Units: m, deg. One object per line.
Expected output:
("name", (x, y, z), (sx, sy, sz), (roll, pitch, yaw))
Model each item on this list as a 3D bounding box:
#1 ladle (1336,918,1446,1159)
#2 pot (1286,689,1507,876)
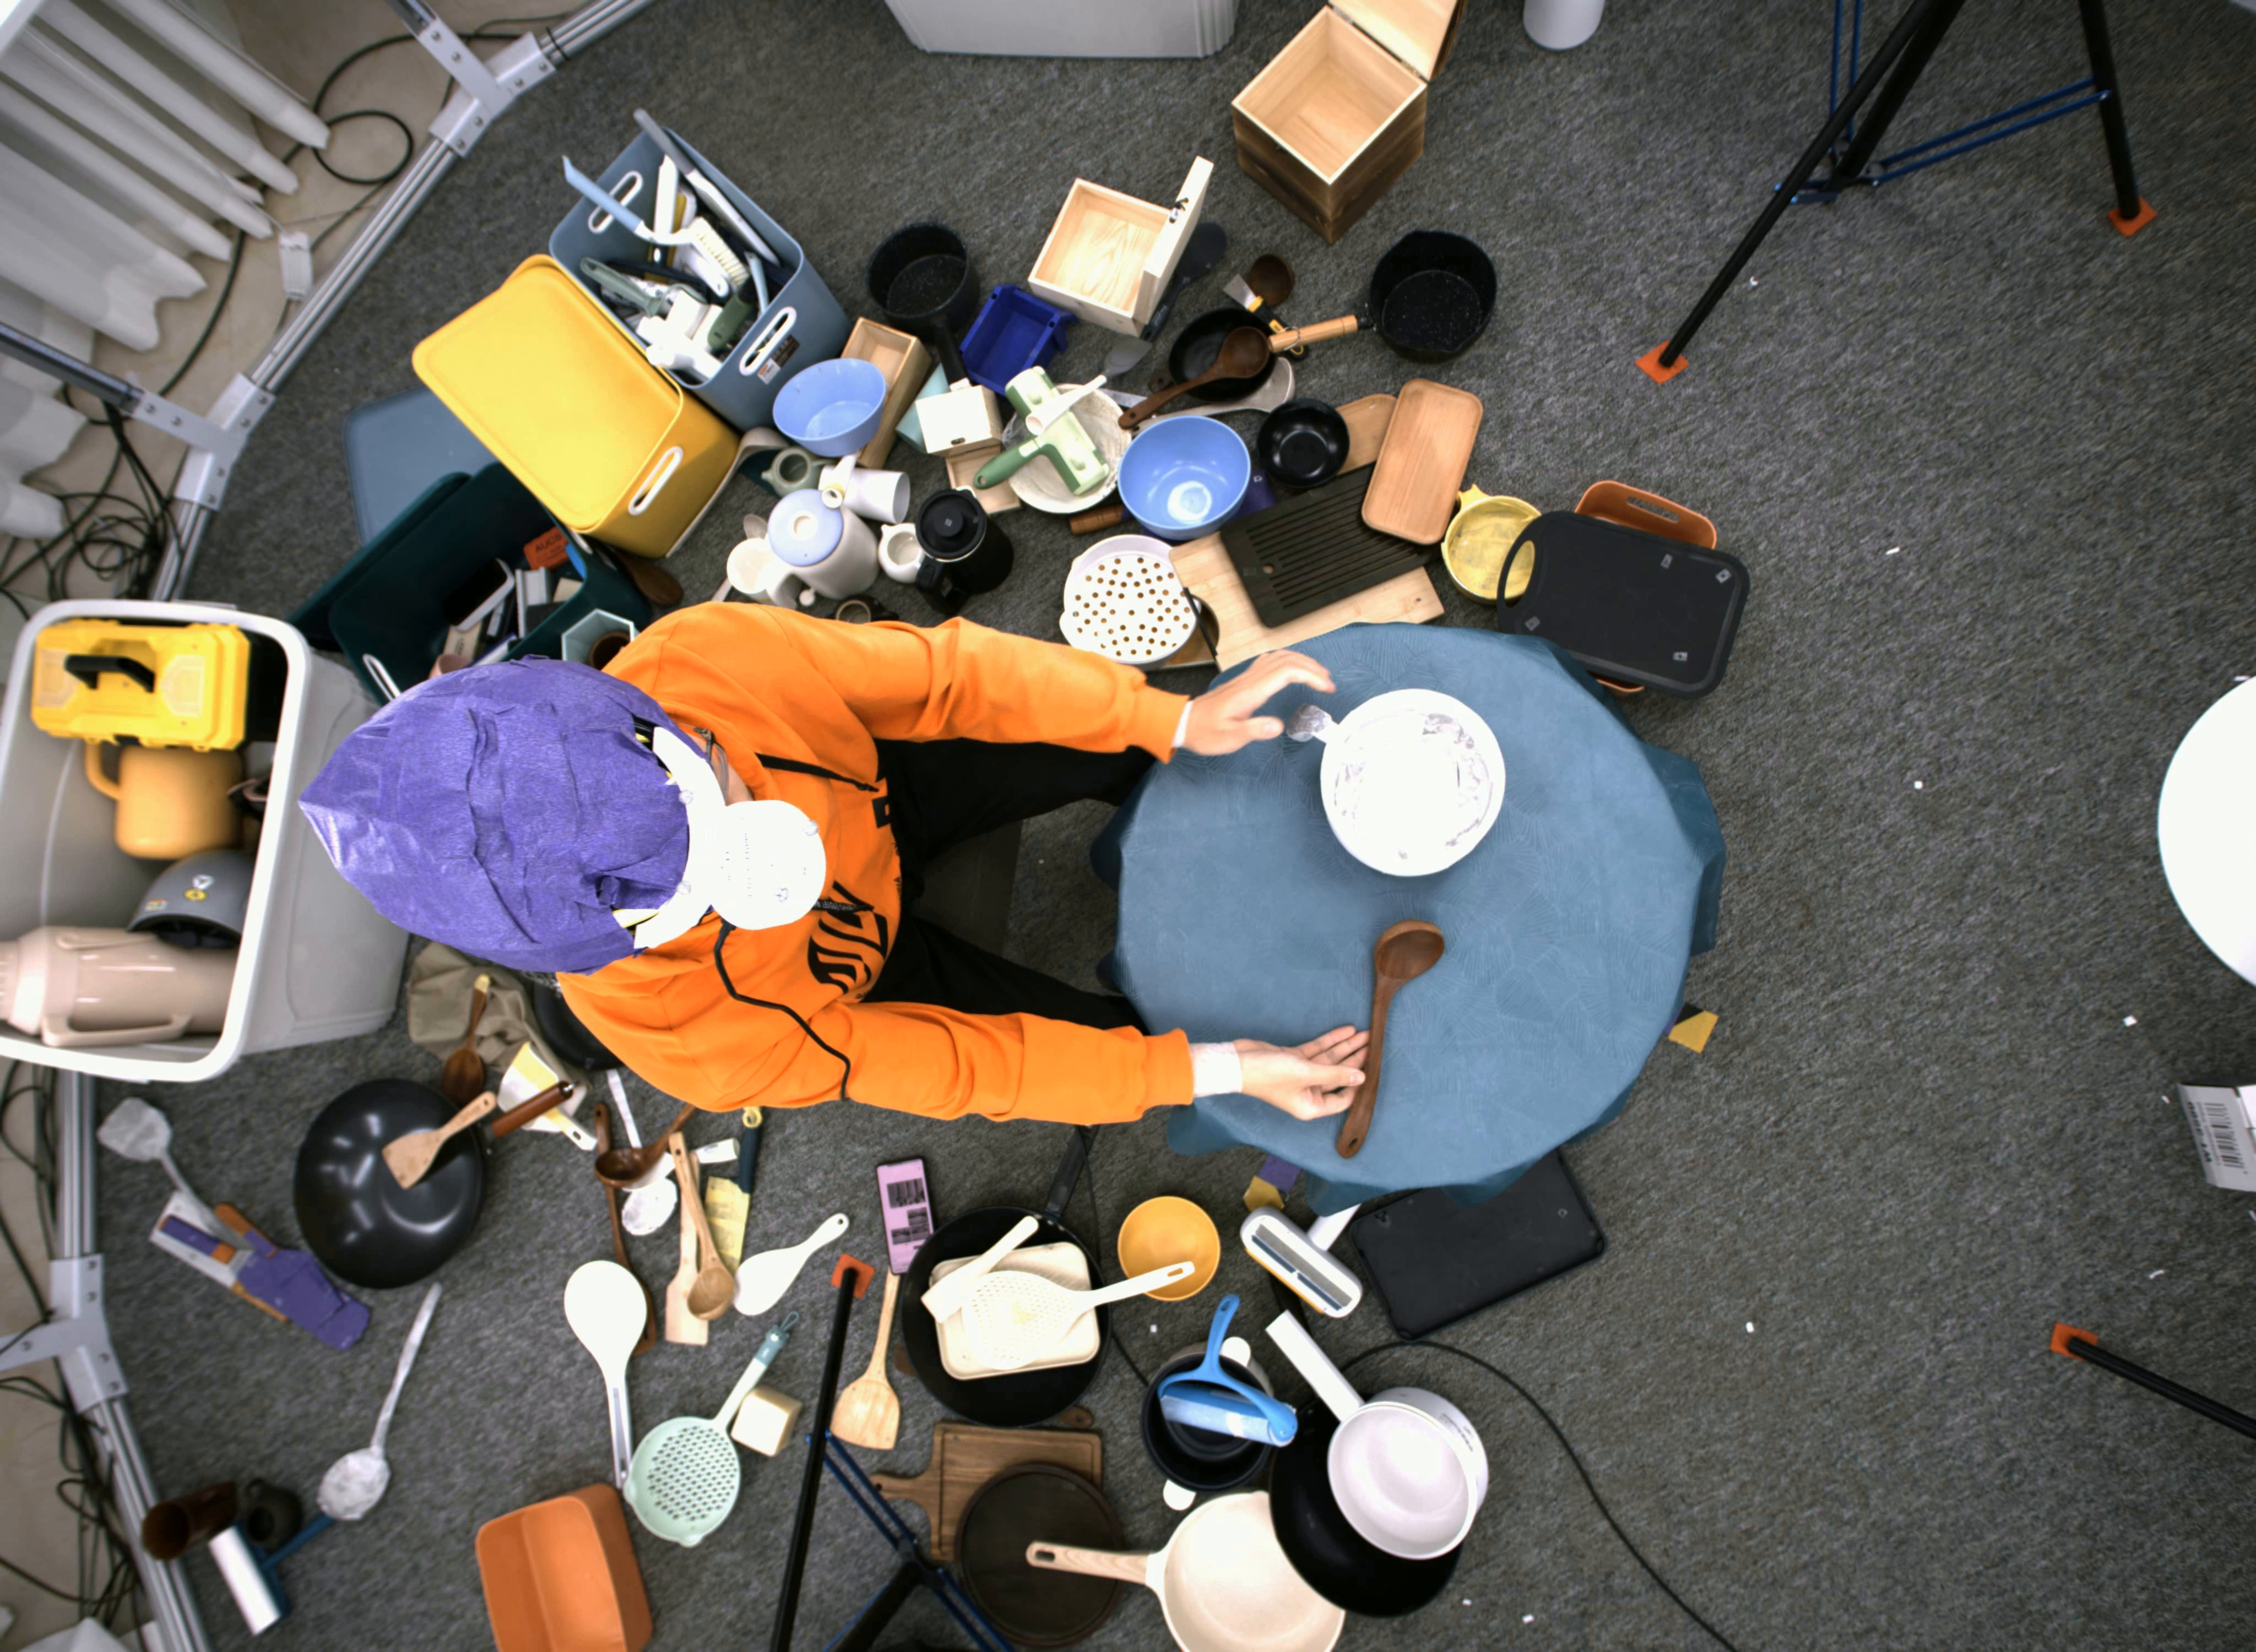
("ladle", (0.265, 0.219, 1.422), (0.076, 0.065, 0.259), (15, 89, -17))
("pot", (0.262, -0.055, 1.398), (0.233, 0.137, 0.179), (32, 91, 10))
